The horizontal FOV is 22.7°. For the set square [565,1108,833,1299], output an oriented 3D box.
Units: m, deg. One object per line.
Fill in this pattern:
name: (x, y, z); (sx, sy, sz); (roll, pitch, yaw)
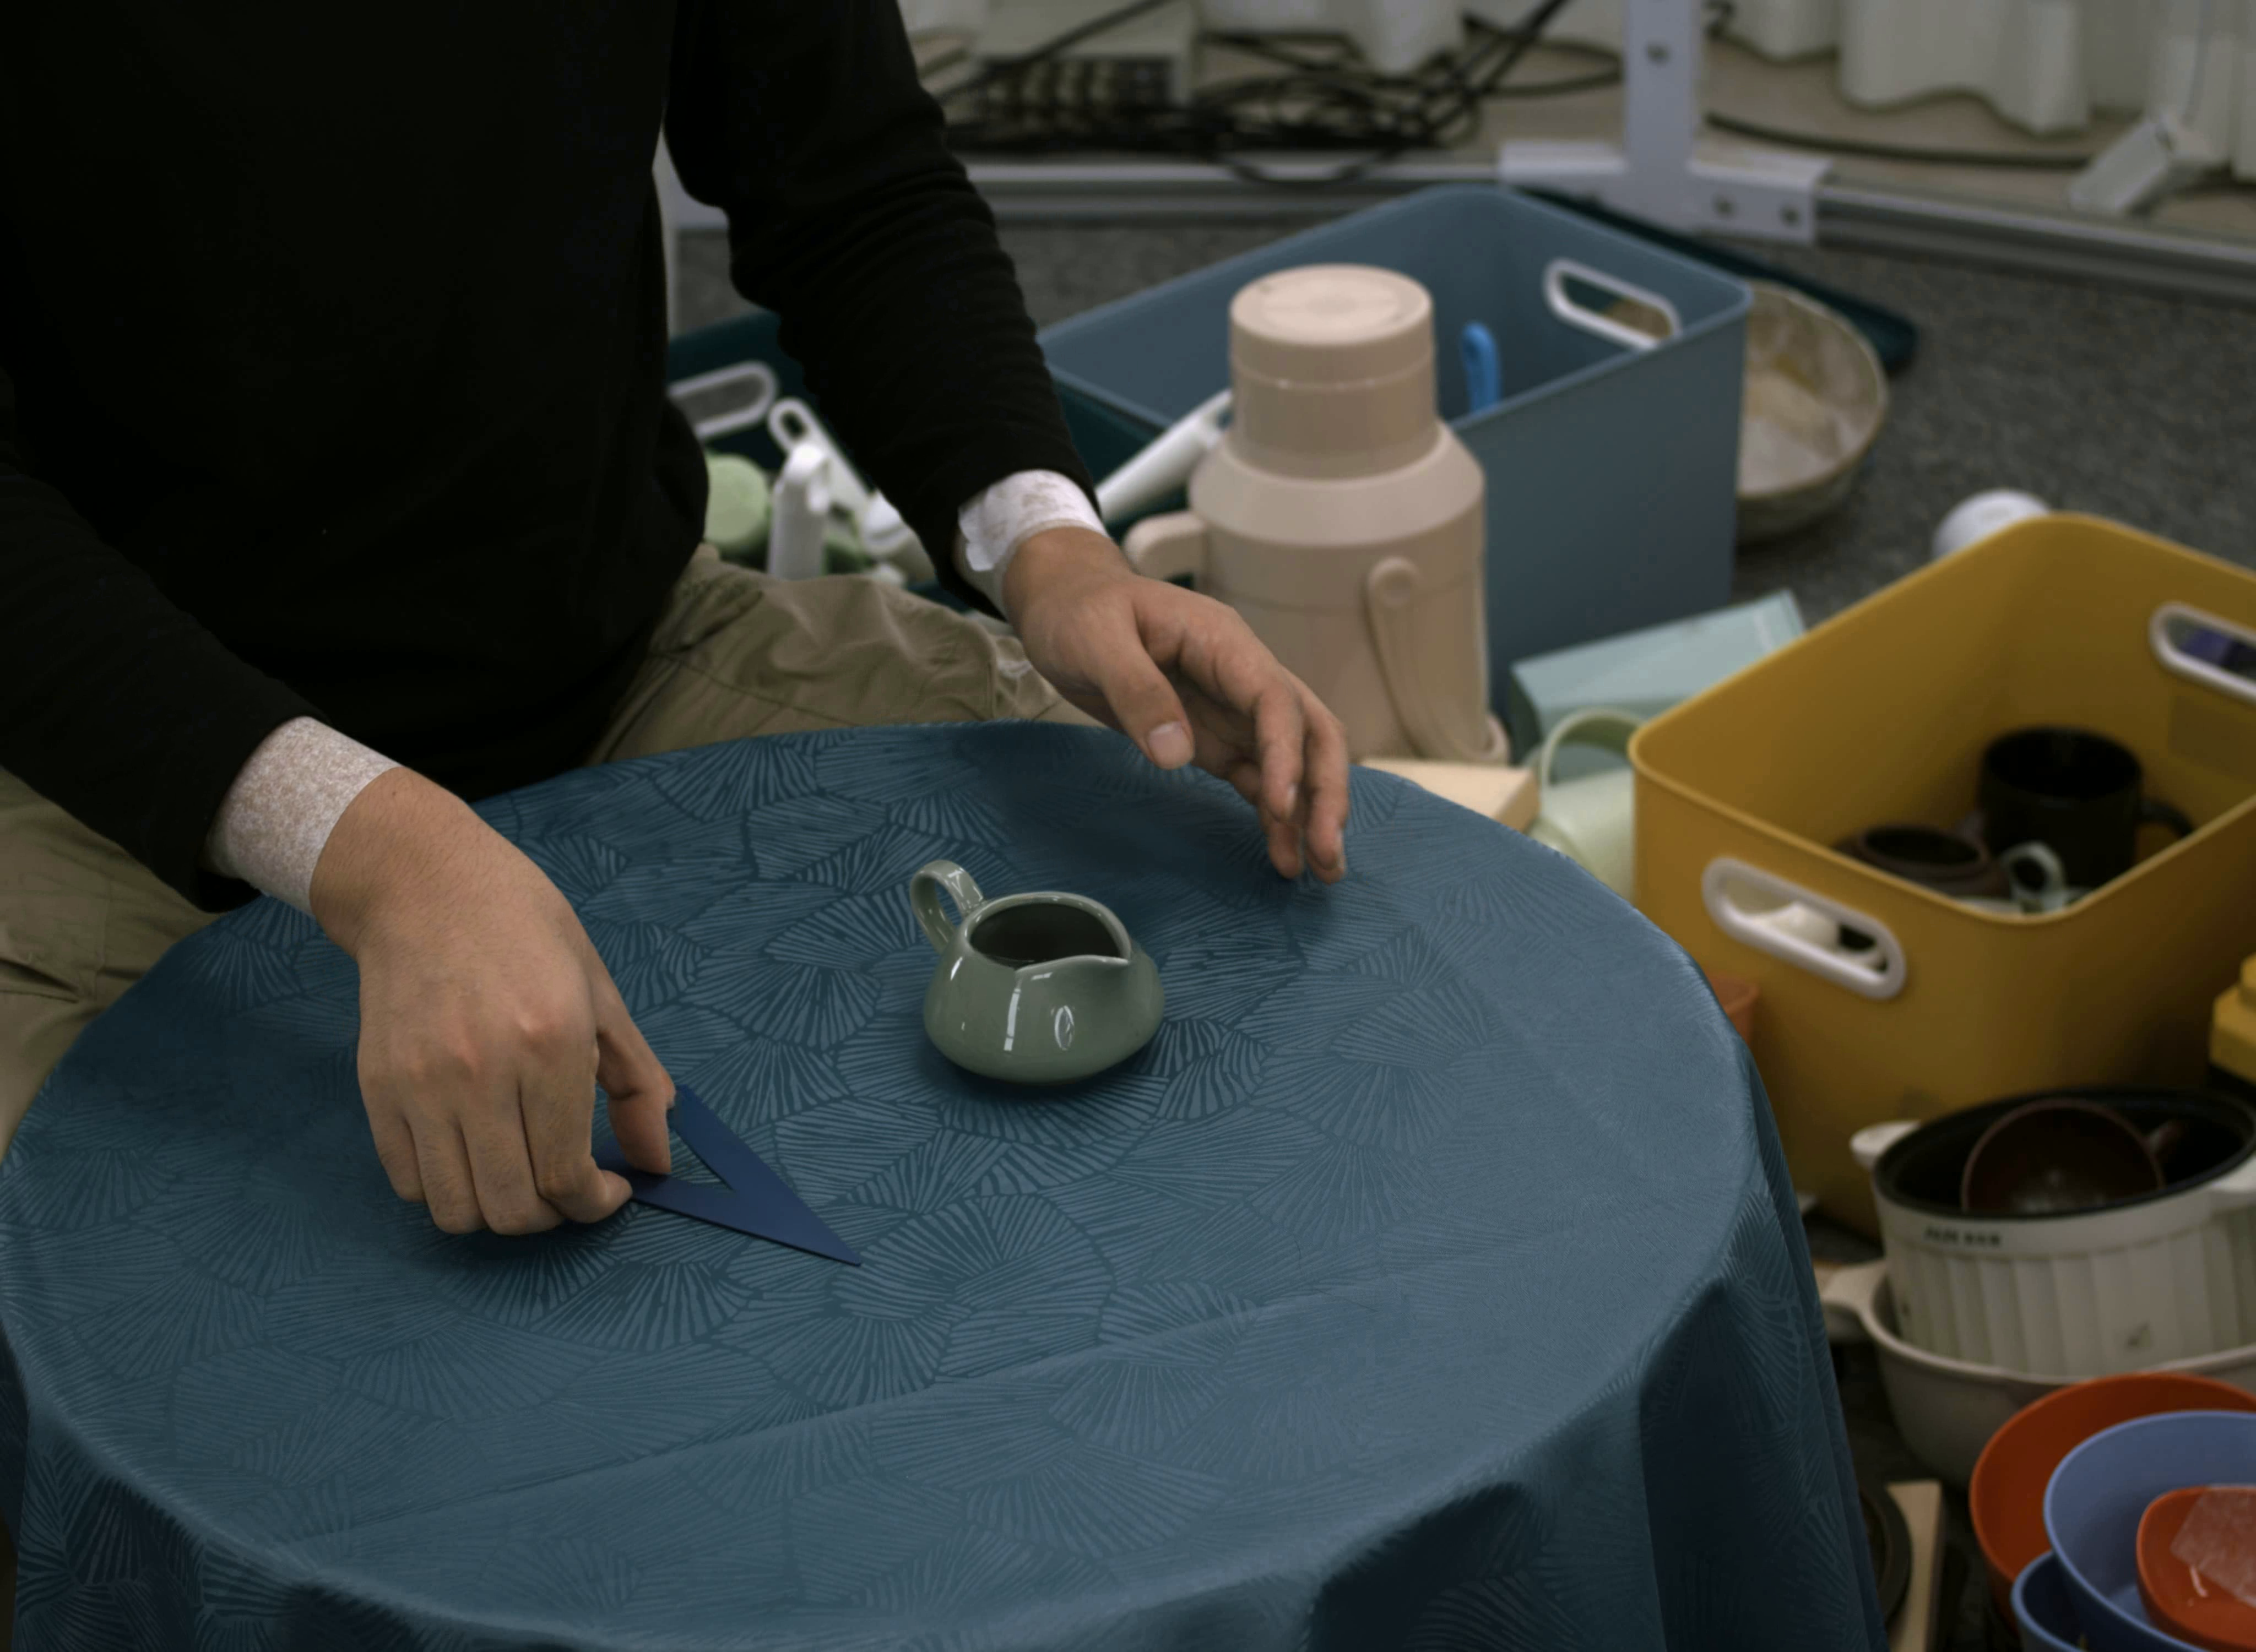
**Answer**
set square: (-0.146, 0.129, 1.857); (0.061, 0.006, 0.133); (-14, 30, -21)

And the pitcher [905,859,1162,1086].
pitcher: (-0.035, 0.051, 1.941); (0.085, 0.055, 0.112); (-24, 33, -39)
